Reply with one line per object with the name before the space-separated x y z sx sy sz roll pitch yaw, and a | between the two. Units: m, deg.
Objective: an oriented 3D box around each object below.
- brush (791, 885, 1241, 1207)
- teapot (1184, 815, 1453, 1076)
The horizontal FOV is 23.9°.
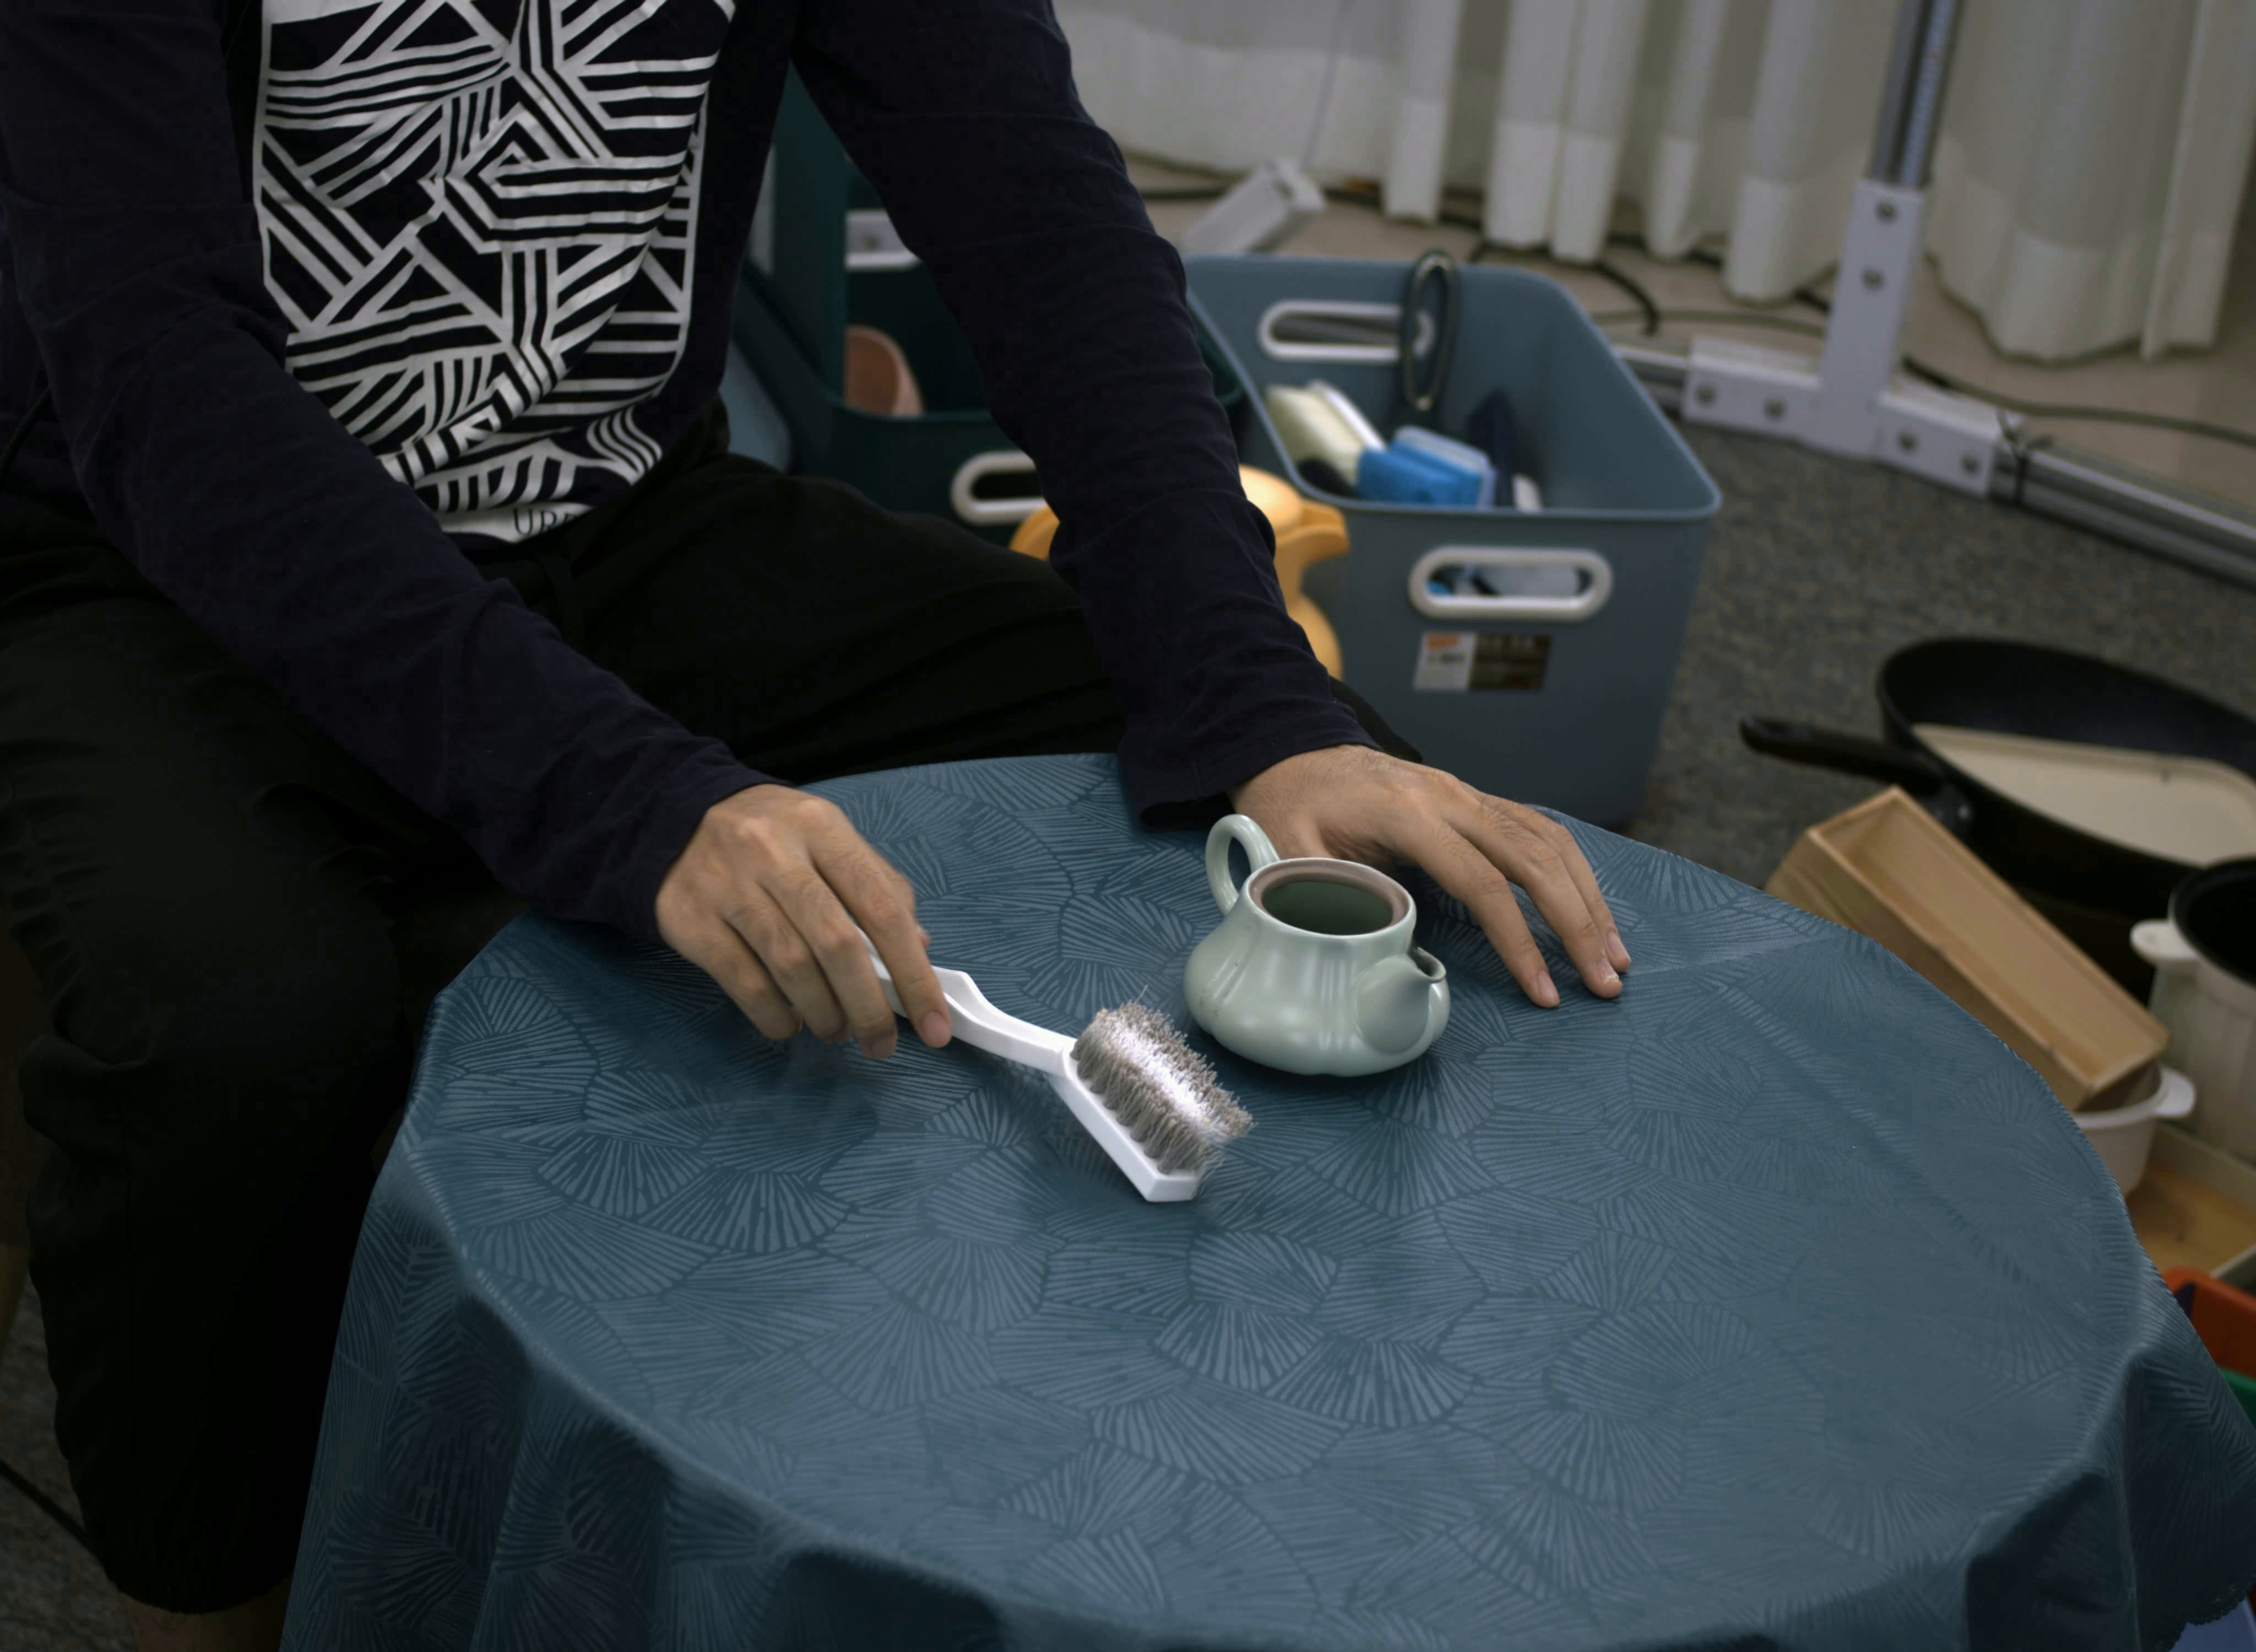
brush | -0.045 0.060 1.870 0.034 0.050 0.246 -17 36 -32
teapot | 0.067 0.046 1.907 0.095 0.061 0.138 -17 35 -33
